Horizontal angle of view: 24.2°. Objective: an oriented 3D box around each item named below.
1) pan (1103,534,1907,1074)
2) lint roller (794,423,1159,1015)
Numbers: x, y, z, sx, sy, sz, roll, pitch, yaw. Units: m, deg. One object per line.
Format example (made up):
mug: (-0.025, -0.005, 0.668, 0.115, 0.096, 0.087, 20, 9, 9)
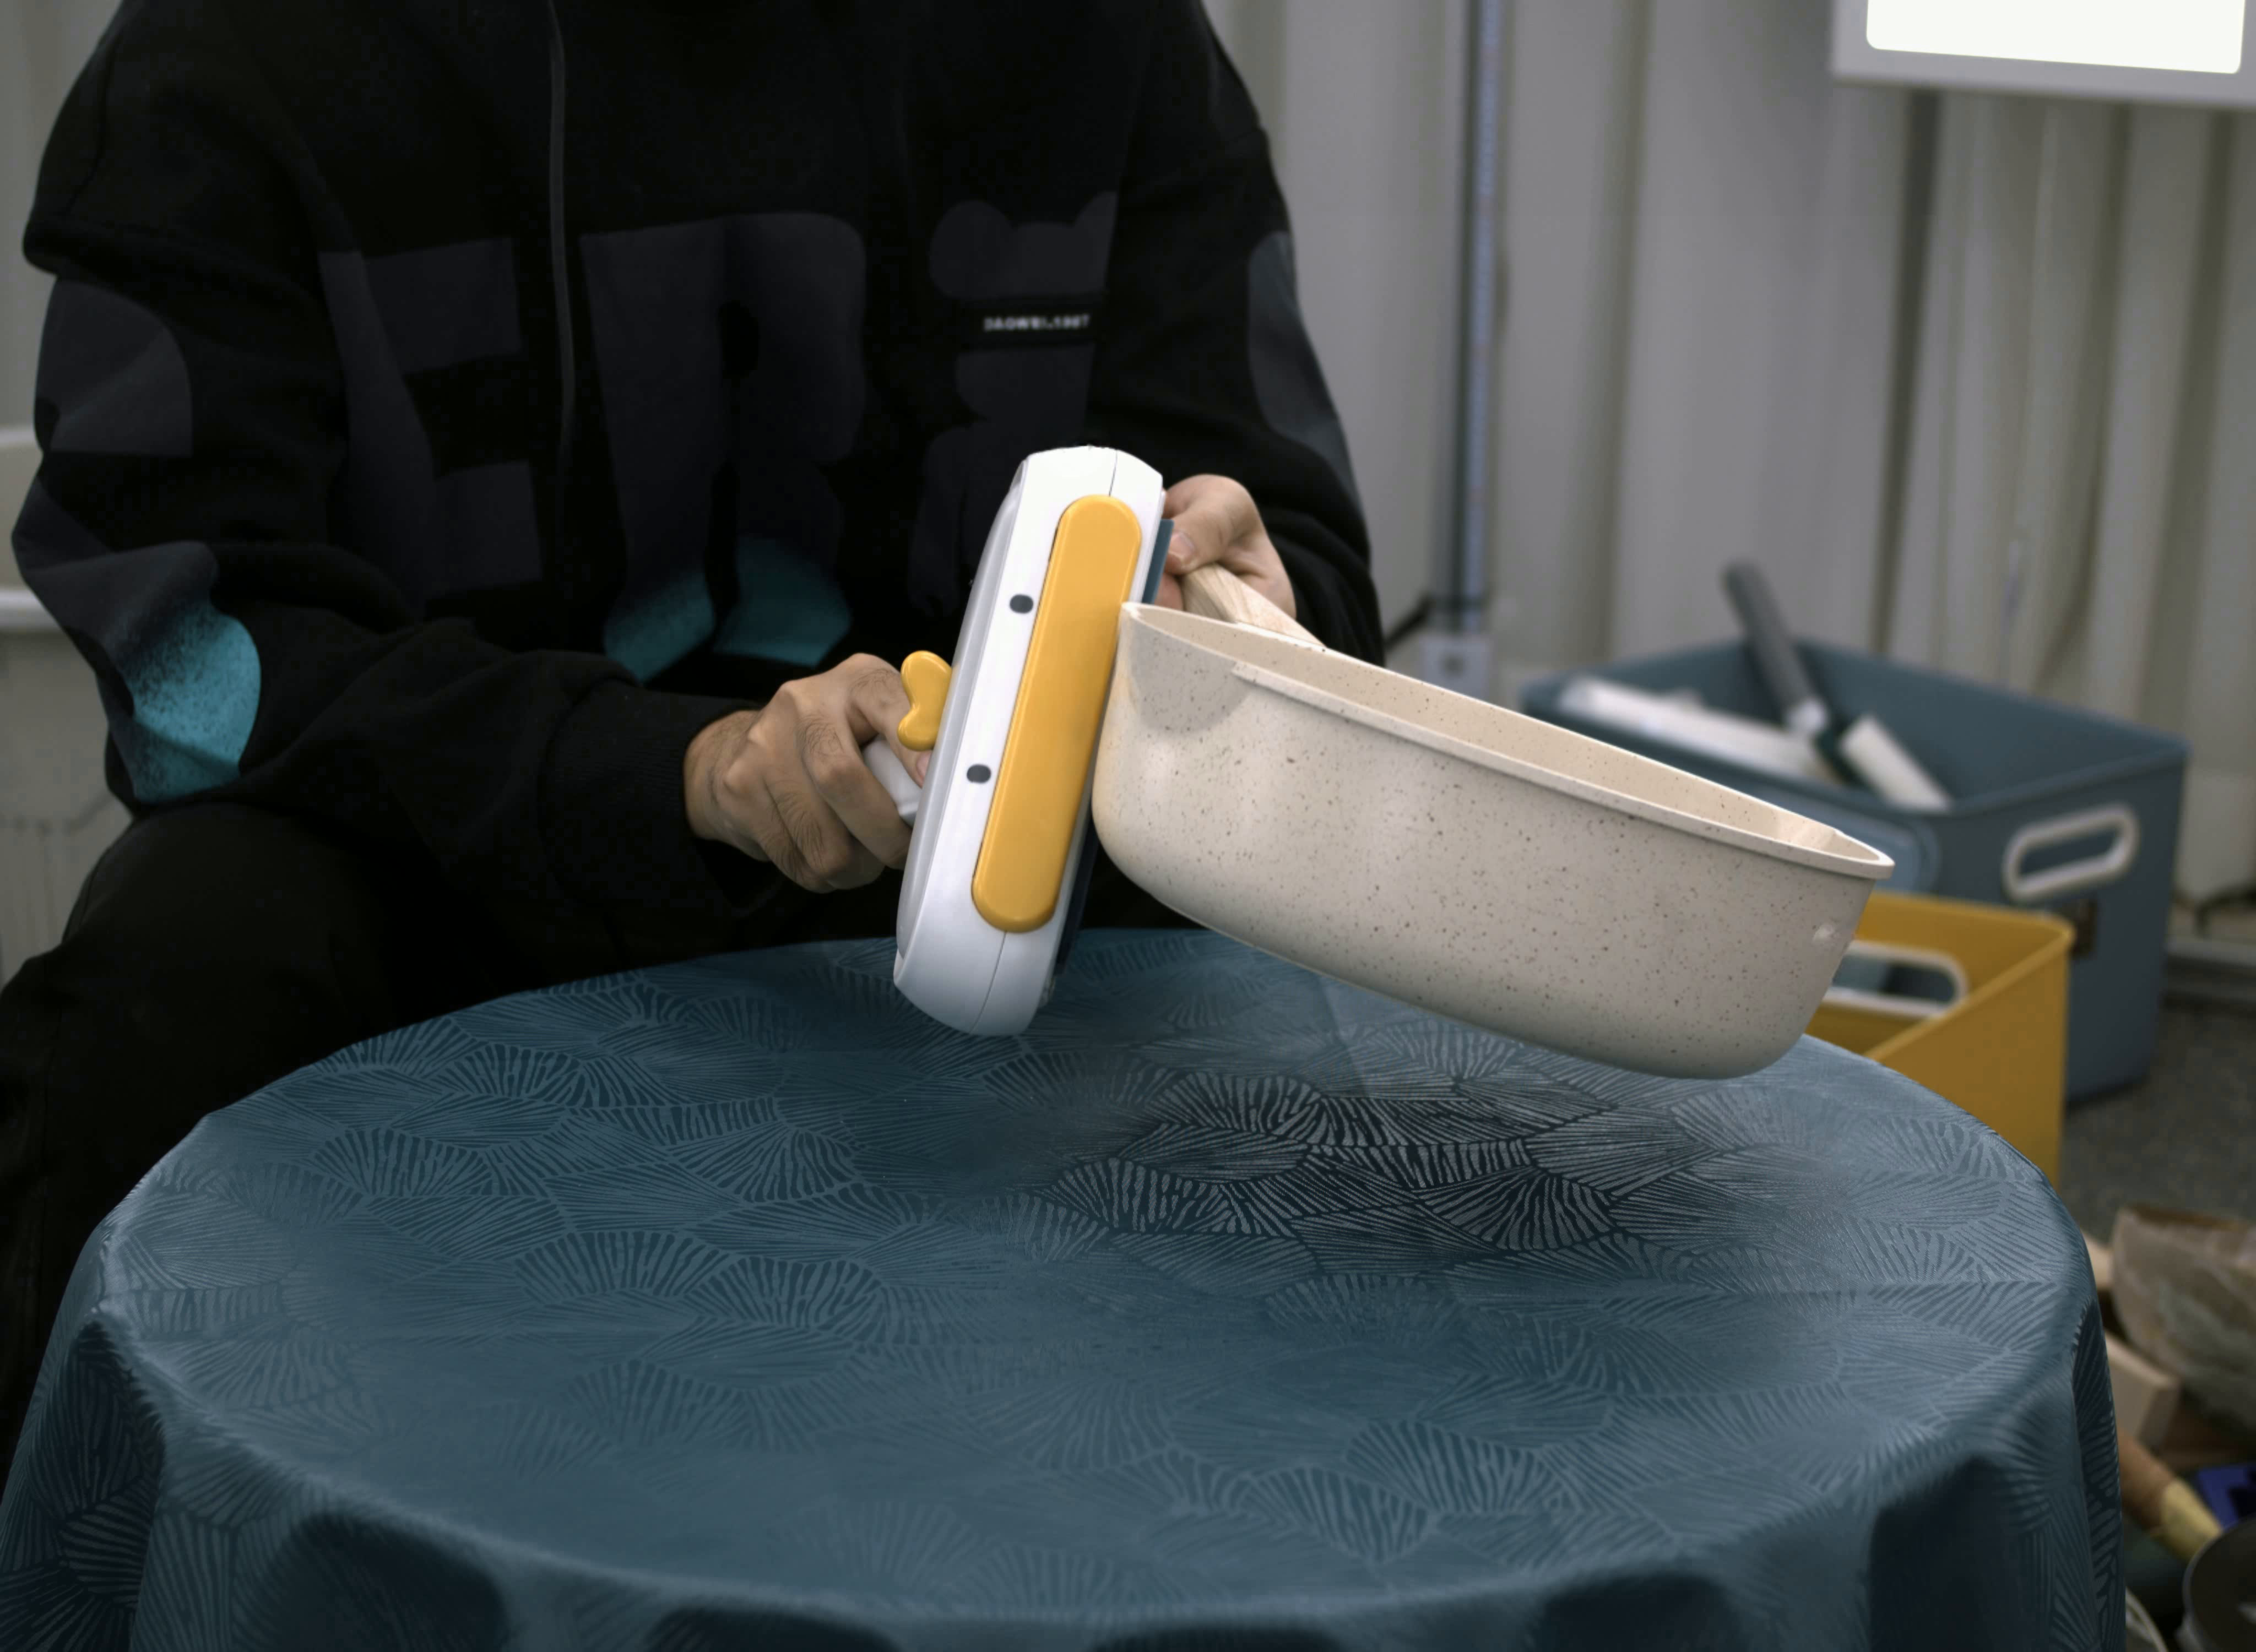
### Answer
pan: (0.066, -0.021, 1.699, 0.265, 0.102, 0.429, 12, 8, -32)
lint roller: (-0.056, -0.020, 1.712, 0.074, 0.192, 0.192, 13, -19, -16)
